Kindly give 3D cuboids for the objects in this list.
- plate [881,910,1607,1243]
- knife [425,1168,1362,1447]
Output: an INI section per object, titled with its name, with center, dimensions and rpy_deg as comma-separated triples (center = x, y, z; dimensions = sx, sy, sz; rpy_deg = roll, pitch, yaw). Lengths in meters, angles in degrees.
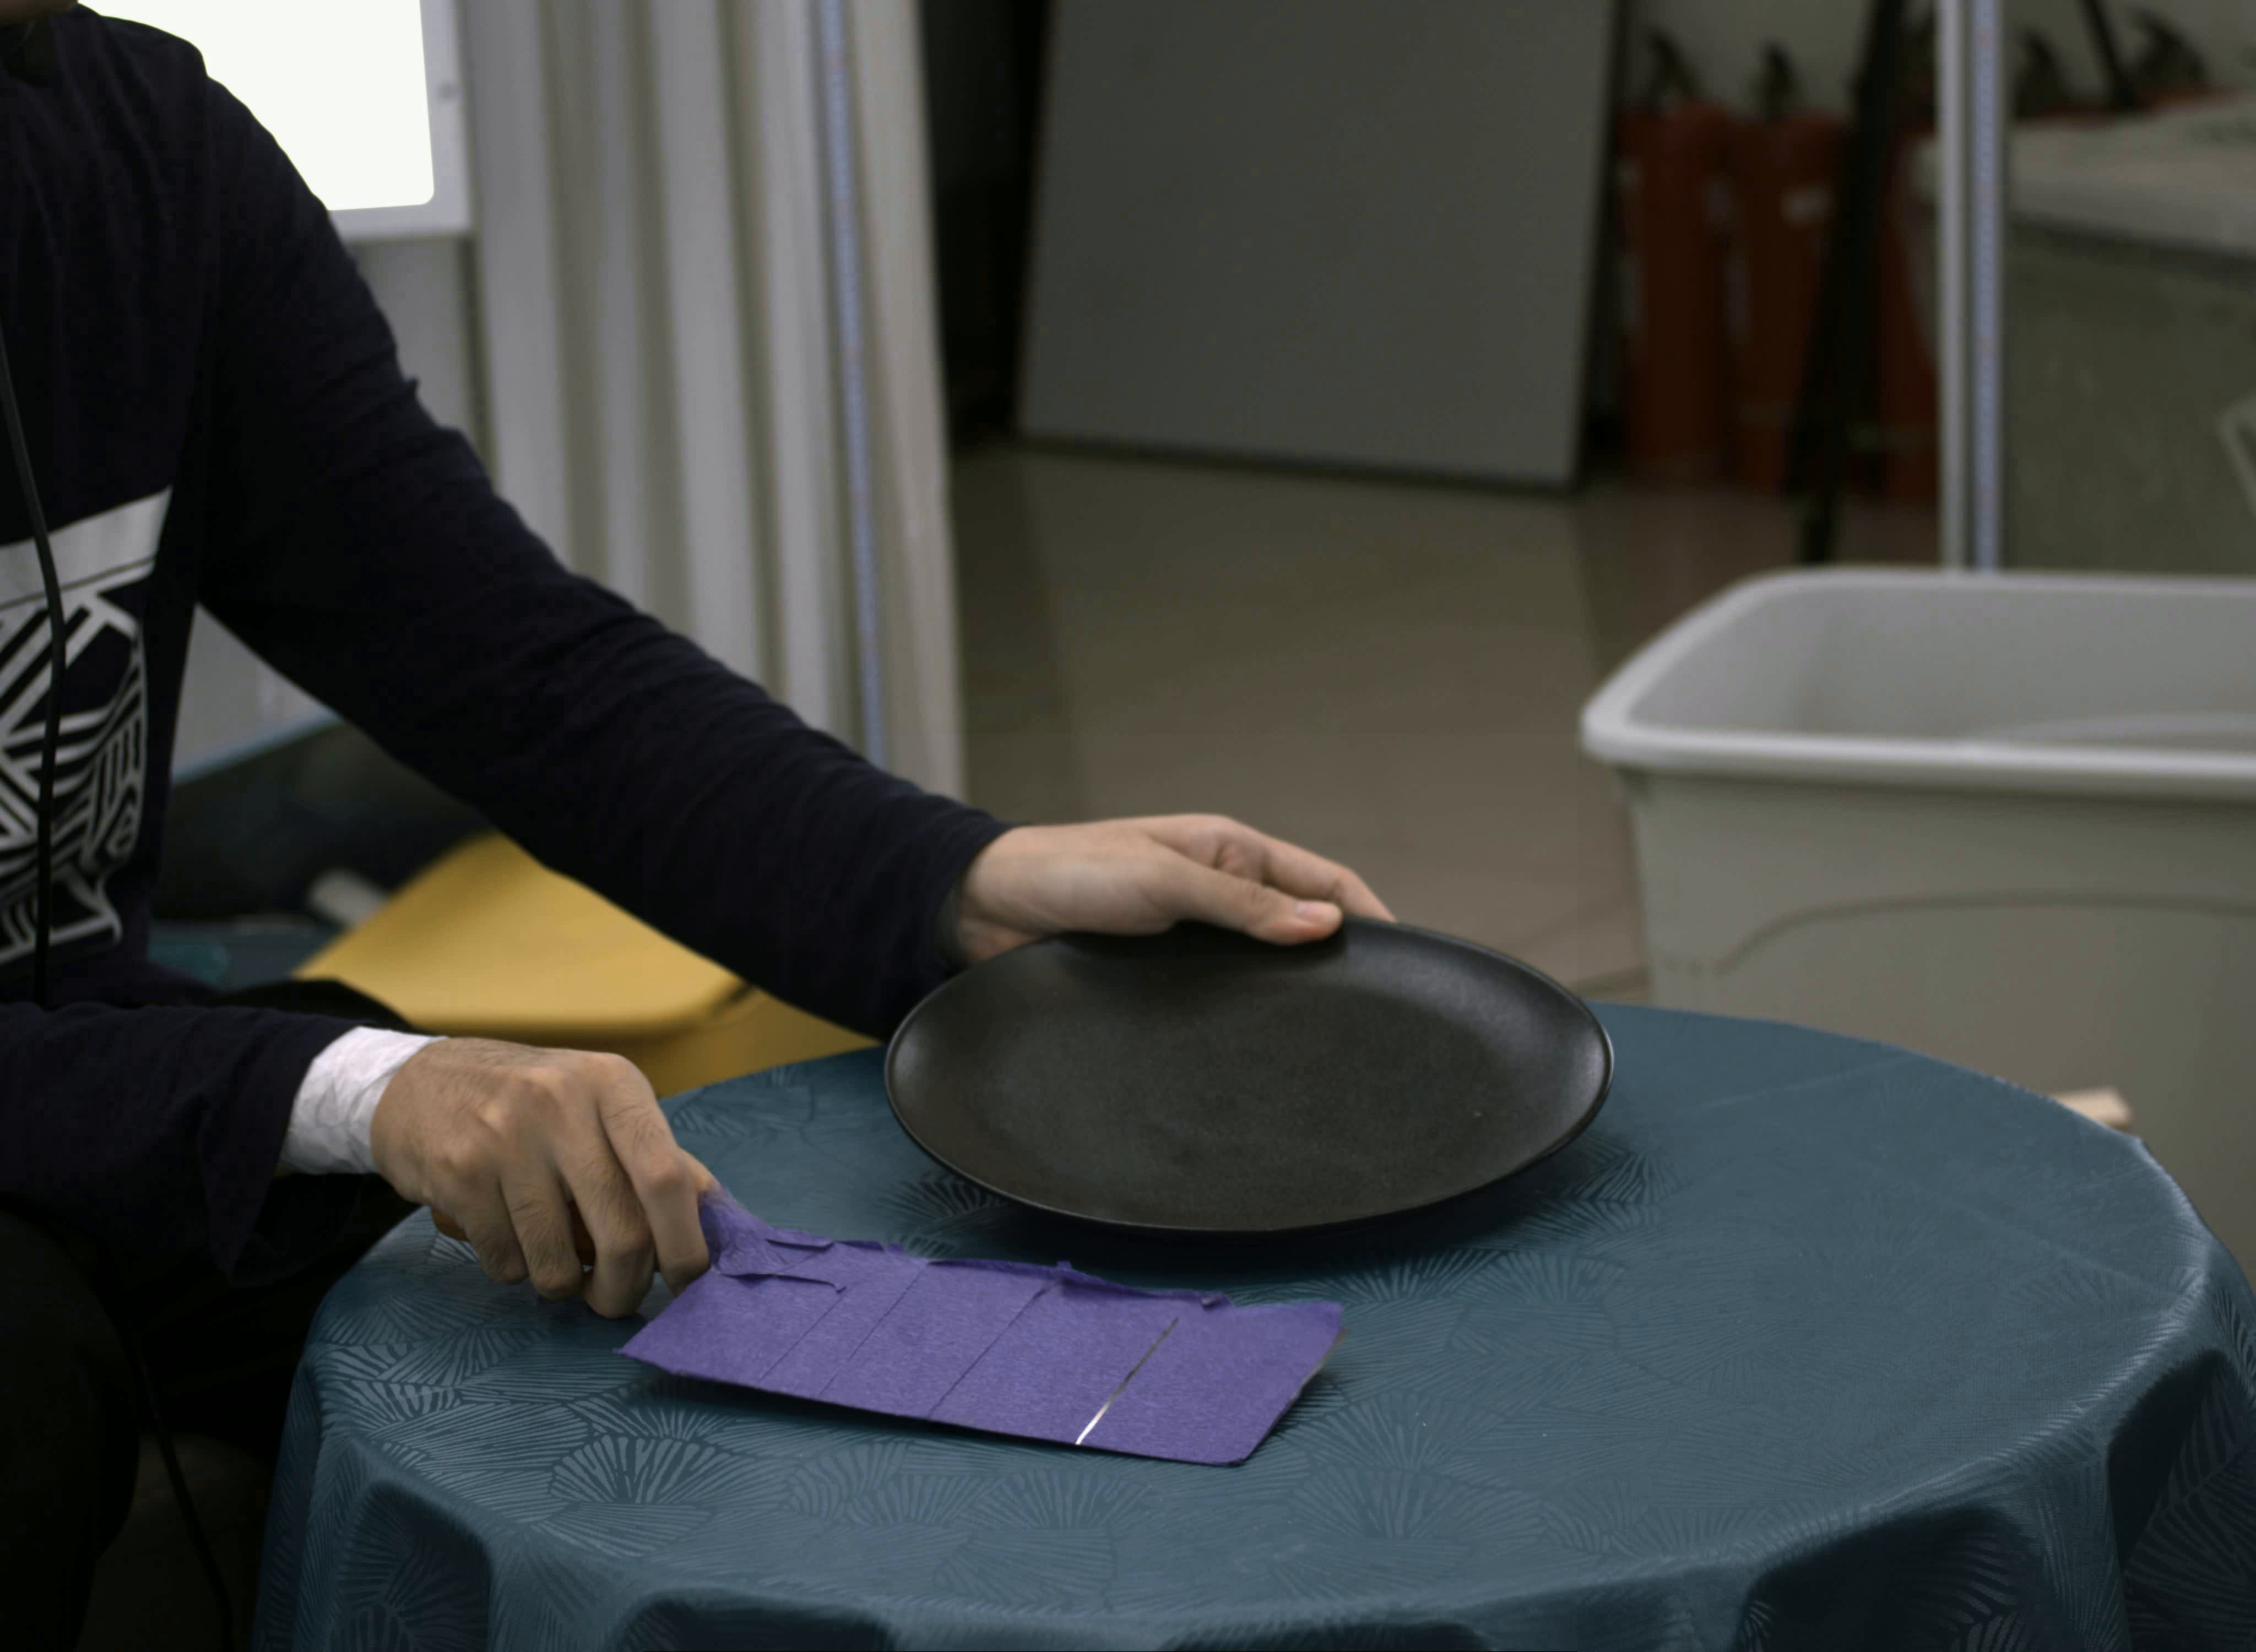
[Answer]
[plate]
center = 0.038, 0.087, 1.785
dimensions = 0.241, 0.023, 0.245
rpy_deg = -3, 23, 0
[knife]
center = -0.089, 0.143, 1.621
dimensions = 0.316, 0.032, 0.103
rpy_deg = 4, 24, 27
